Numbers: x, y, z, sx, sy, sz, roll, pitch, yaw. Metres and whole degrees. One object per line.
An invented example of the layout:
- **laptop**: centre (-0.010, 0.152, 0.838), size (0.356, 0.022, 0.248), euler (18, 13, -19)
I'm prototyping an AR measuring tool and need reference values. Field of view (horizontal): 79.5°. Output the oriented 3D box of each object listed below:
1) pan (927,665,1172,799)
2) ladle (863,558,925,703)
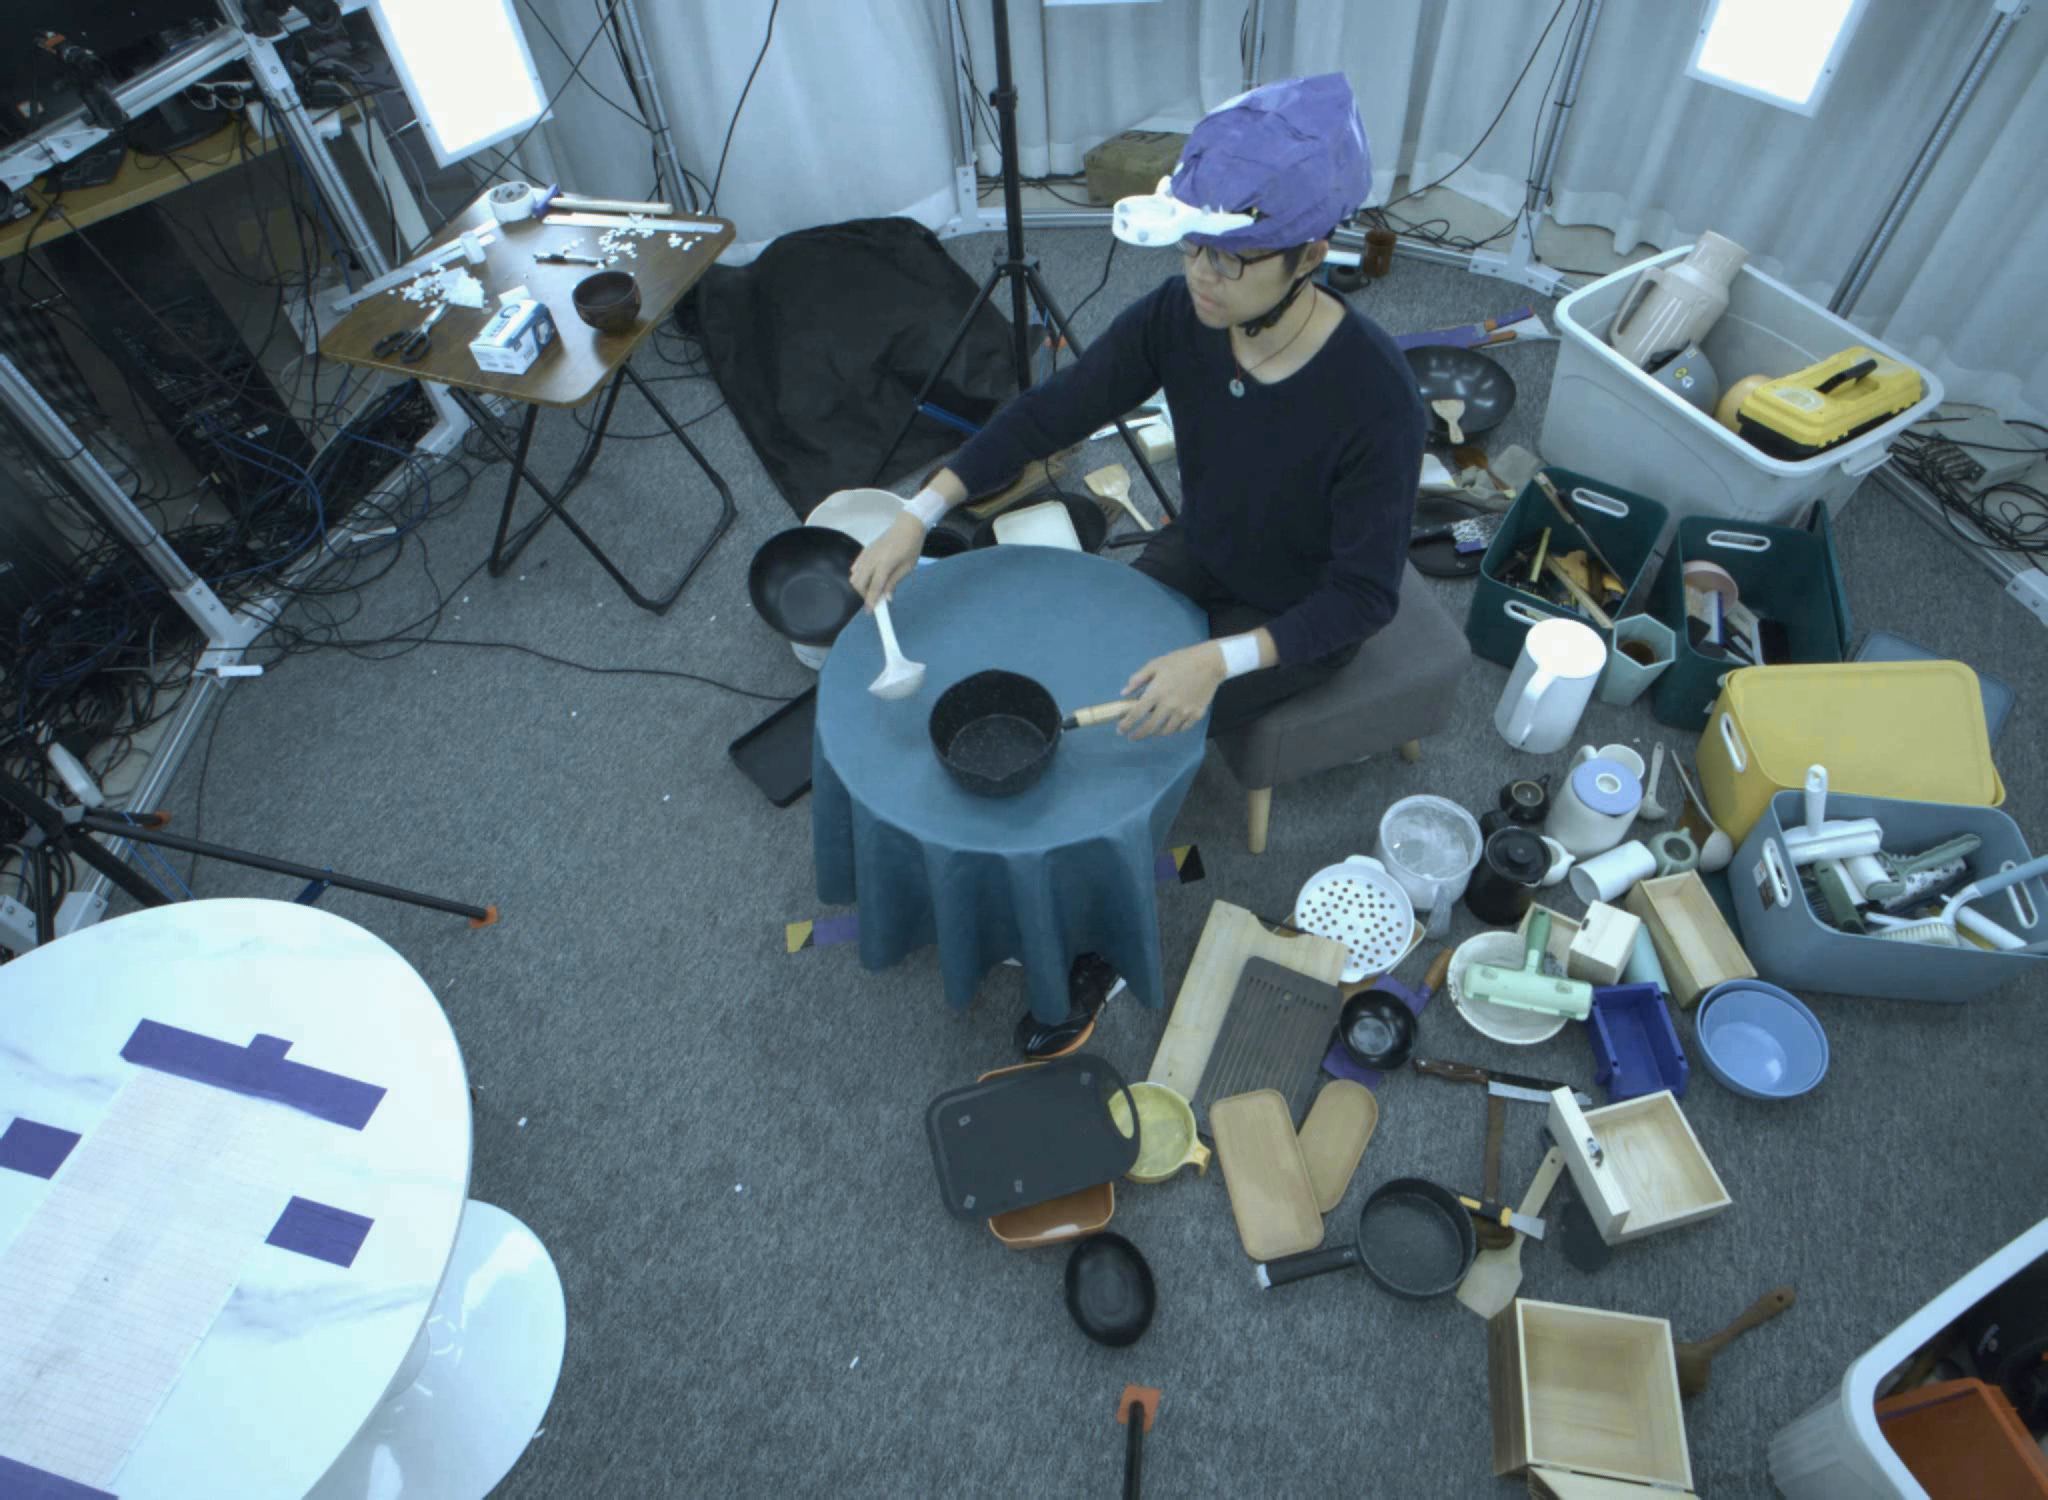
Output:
- **pan**: centre (0.038, -0.032, 1.741), size (0.343, 0.109, 0.204), euler (-7, 54, -1)
- **ladle**: centre (-0.214, -0.191, 1.802), size (0.089, 0.070, 0.271), euler (-23, 65, 9)
